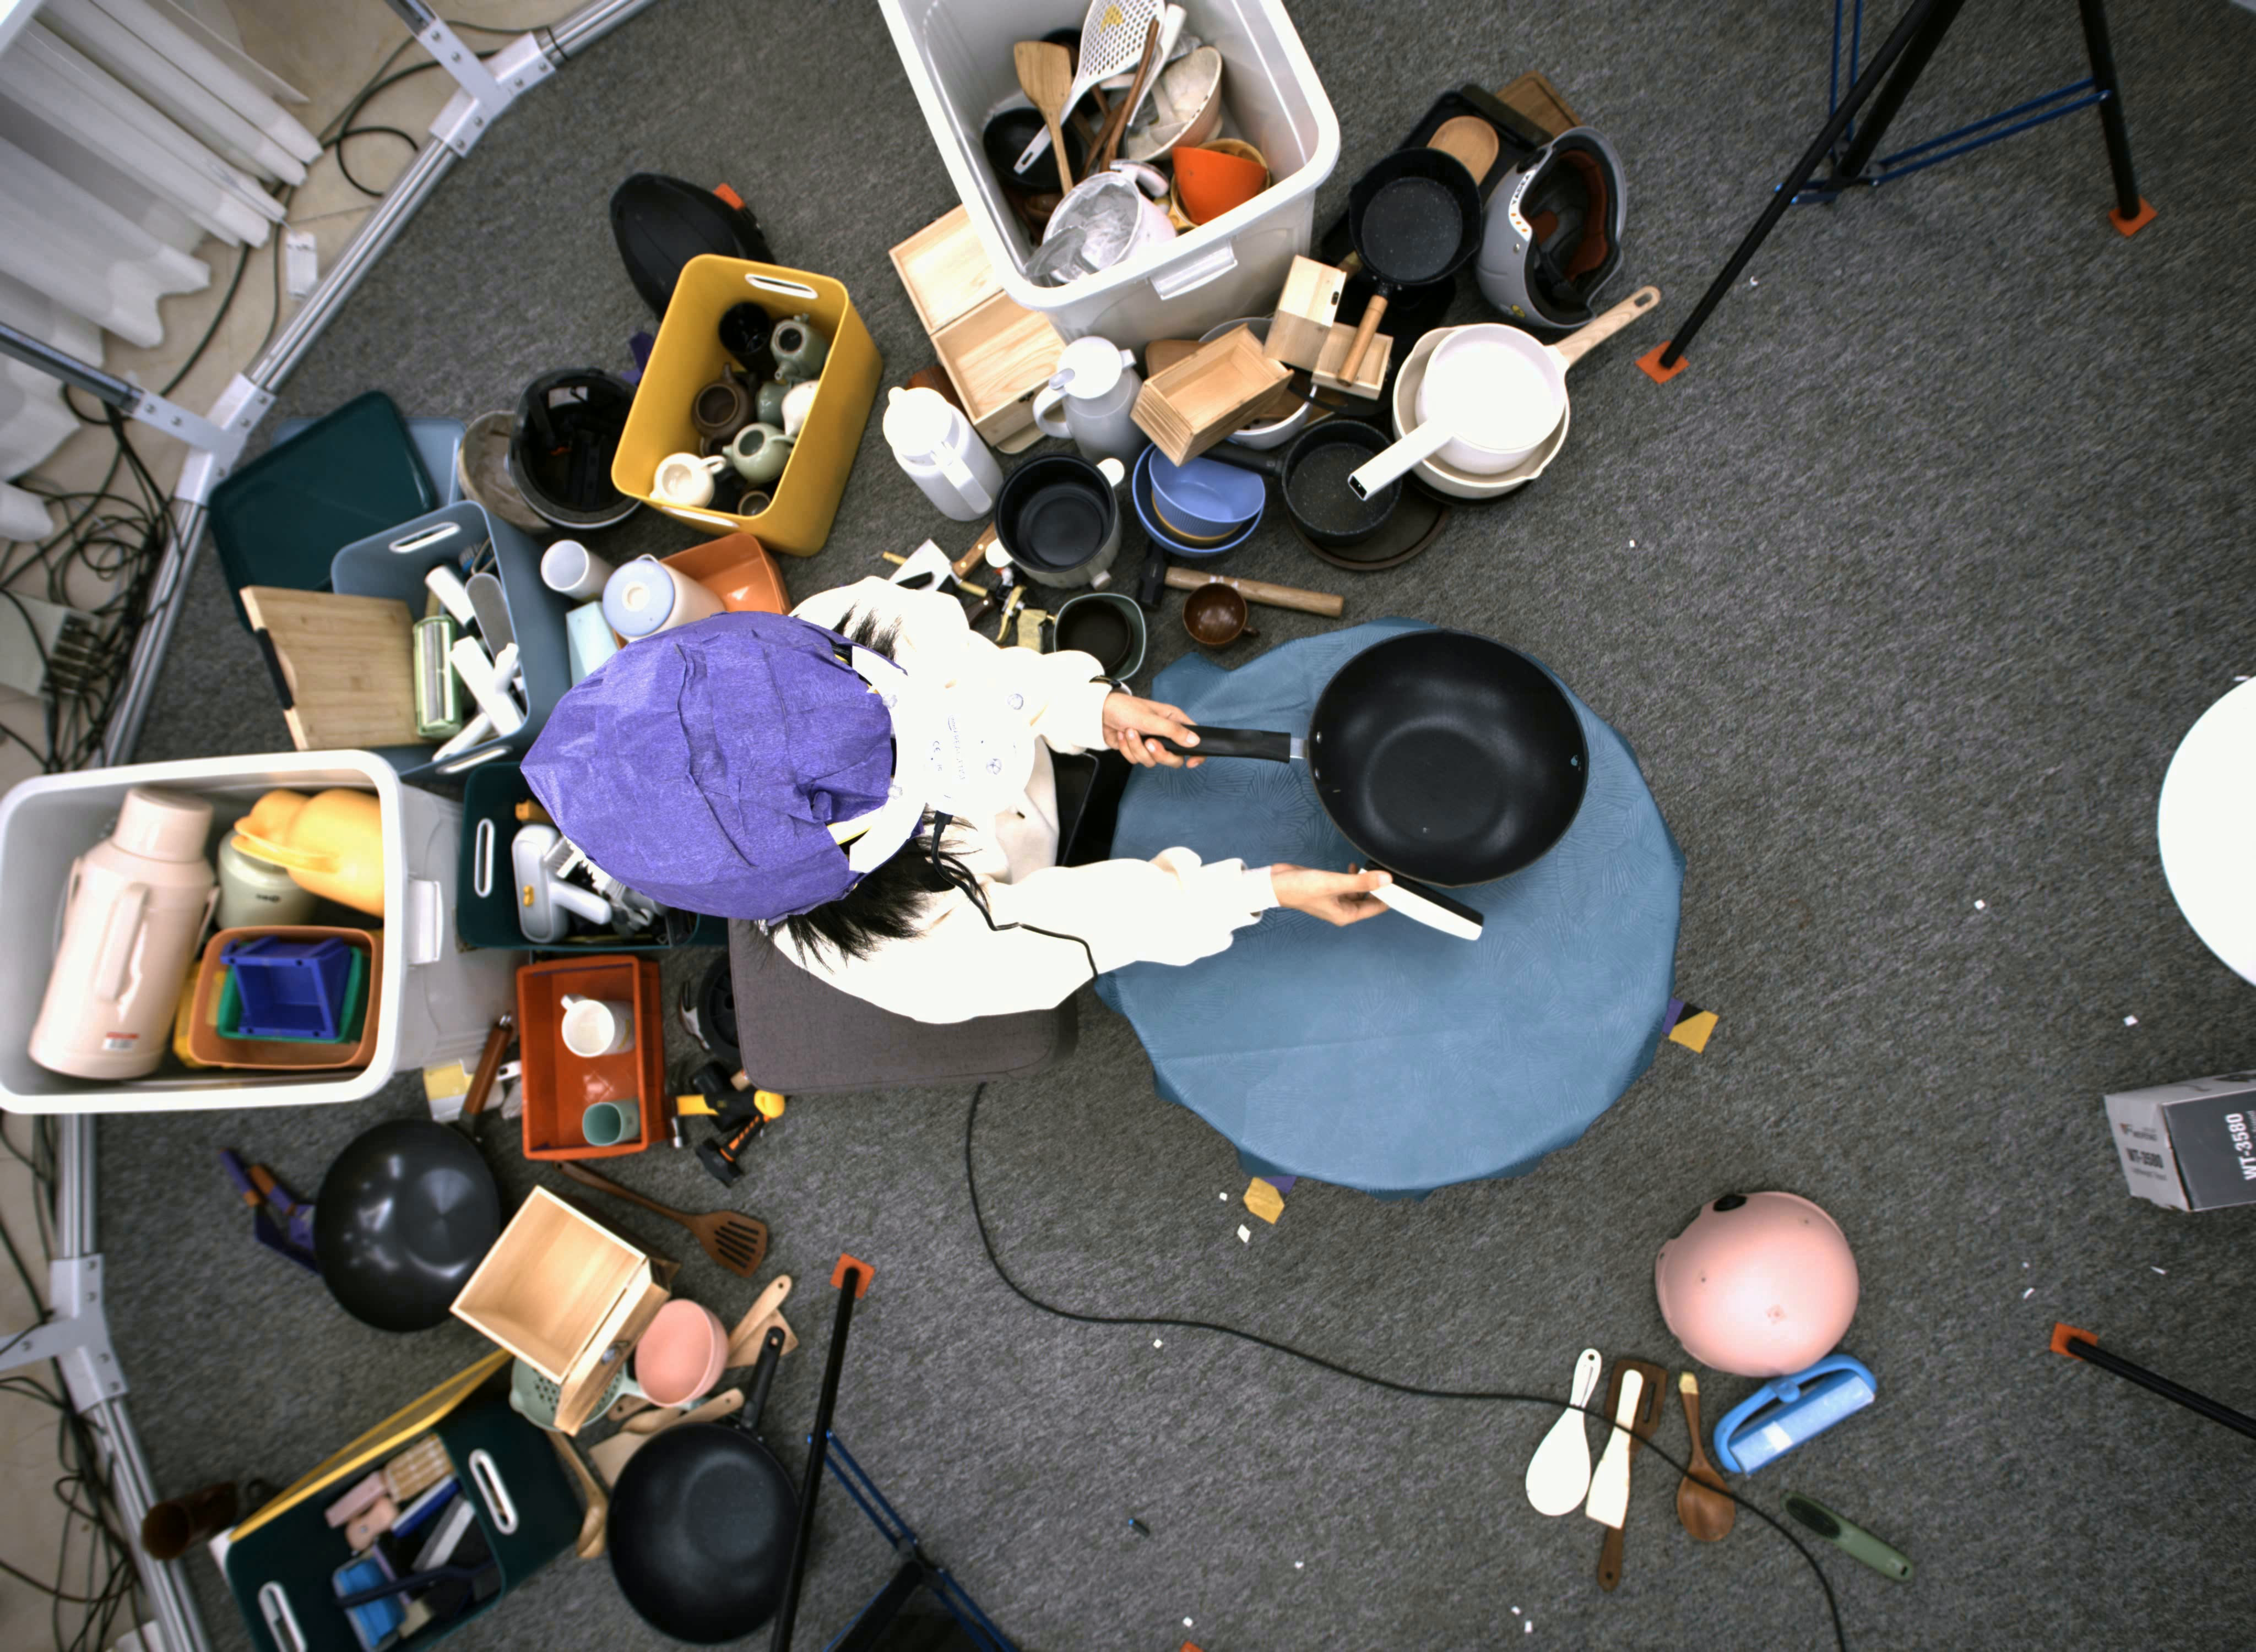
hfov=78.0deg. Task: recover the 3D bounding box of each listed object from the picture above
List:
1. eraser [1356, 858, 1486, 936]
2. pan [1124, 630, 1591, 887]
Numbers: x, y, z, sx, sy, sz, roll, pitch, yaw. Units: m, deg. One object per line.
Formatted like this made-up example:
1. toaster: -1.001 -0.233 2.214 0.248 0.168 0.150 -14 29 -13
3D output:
1. eraser: 0.286 0.071 1.350 0.131 0.063 0.034 25 93 12
2. pan: 0.228 -0.065 1.404 0.464 0.088 0.282 3 69 6
